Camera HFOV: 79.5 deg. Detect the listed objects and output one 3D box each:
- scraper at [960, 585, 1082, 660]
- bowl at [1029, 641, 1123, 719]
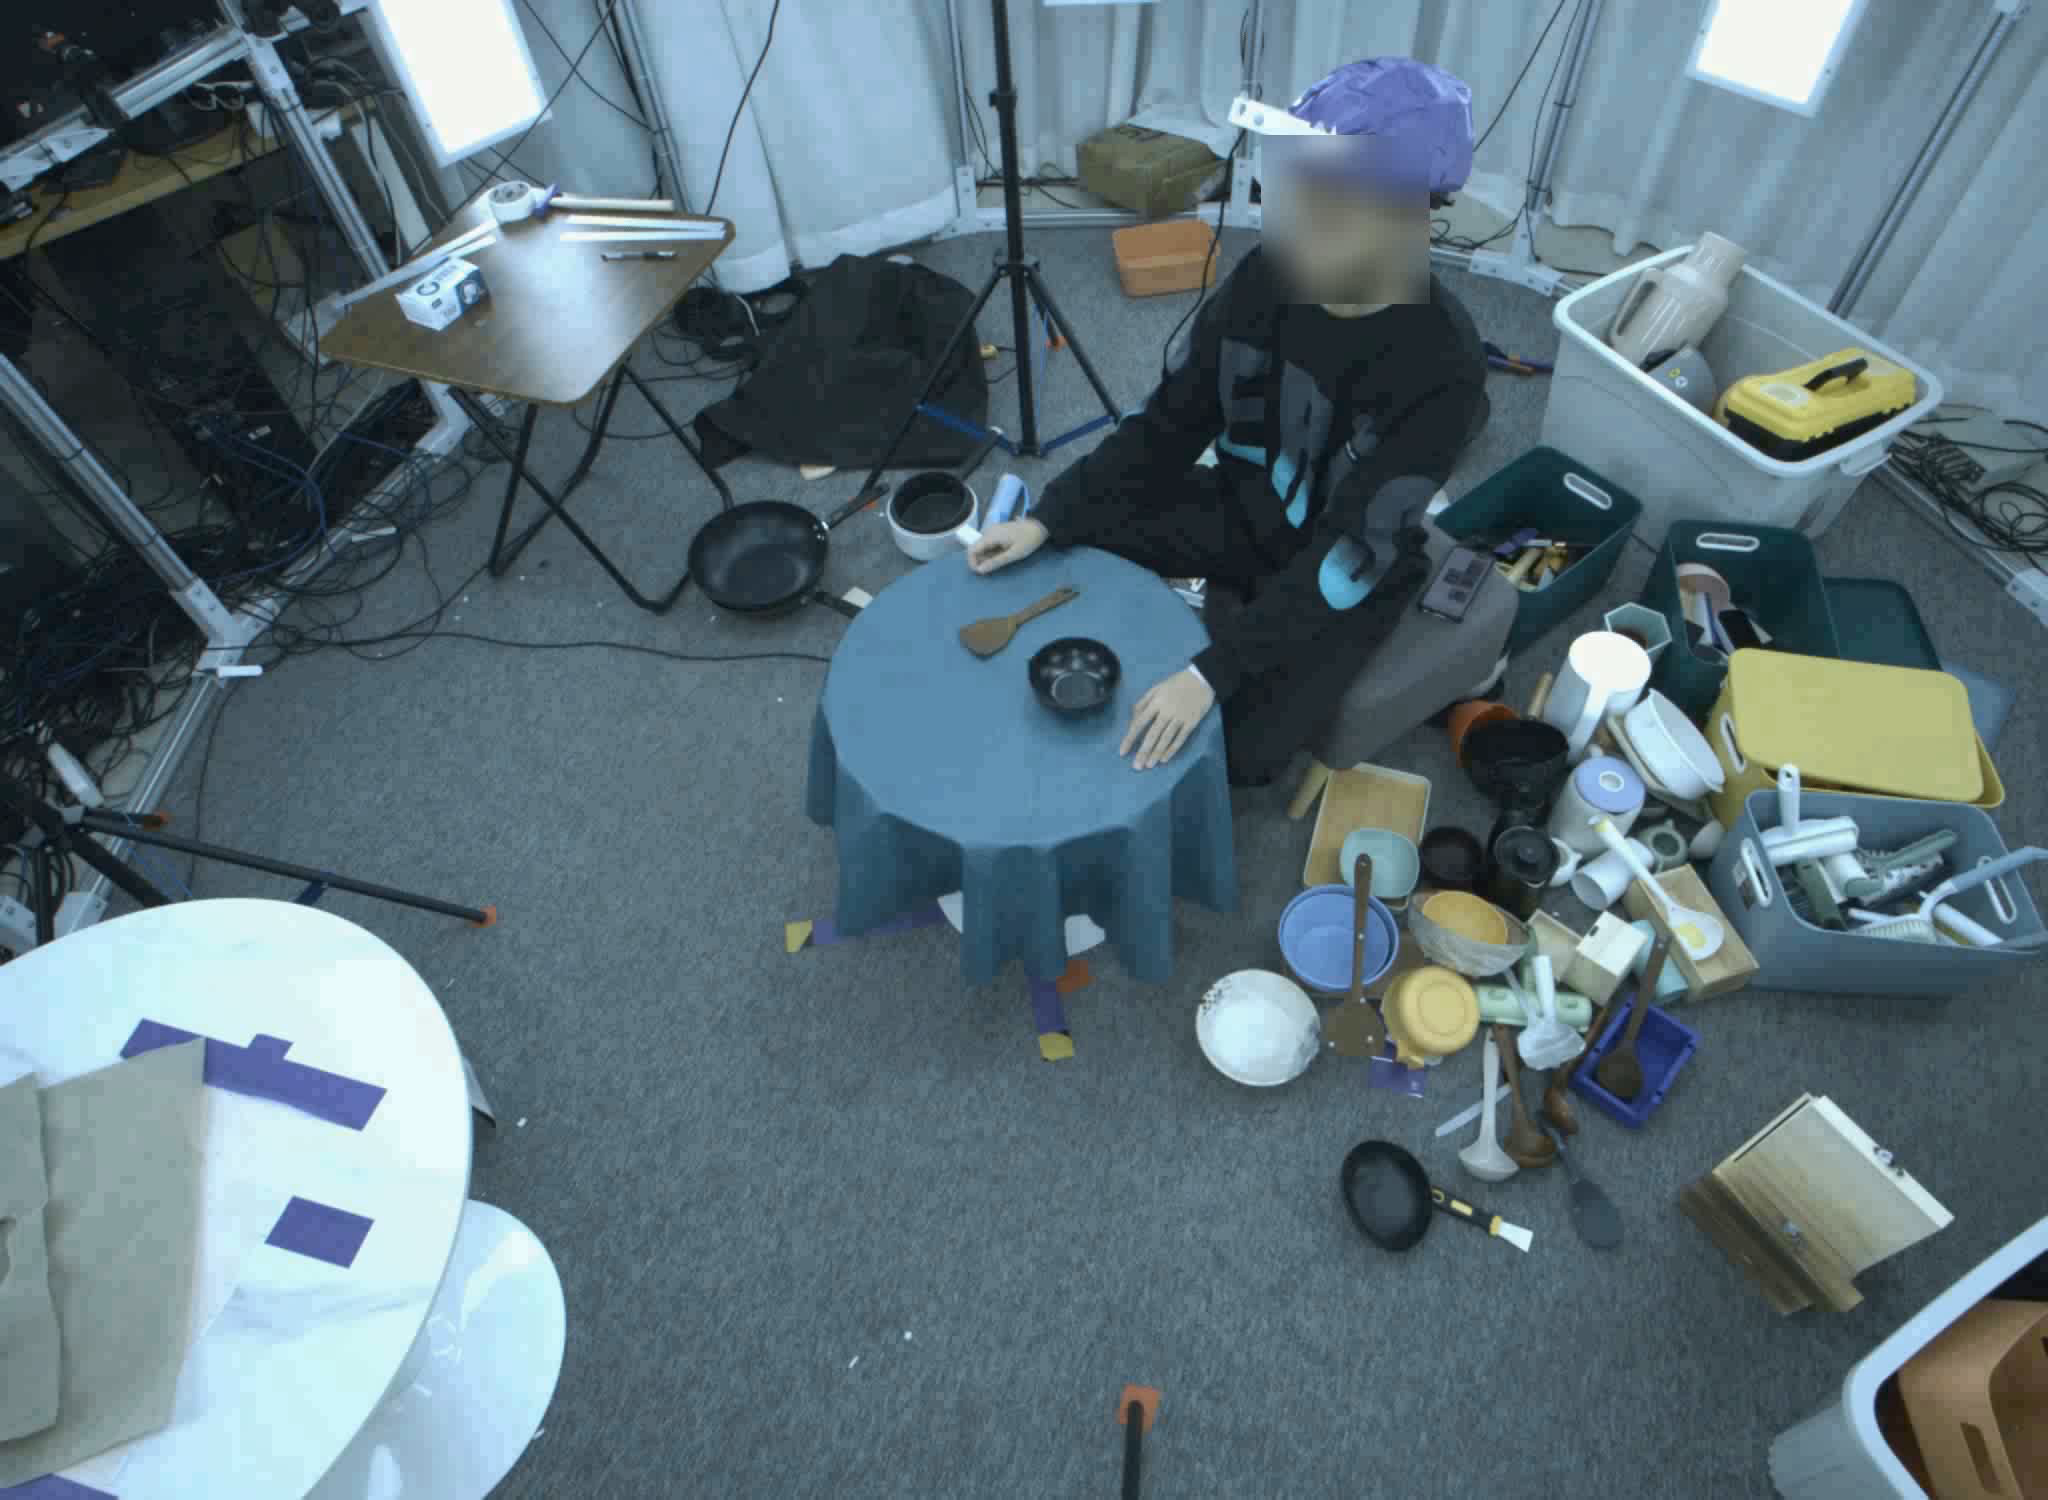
[{"bbox_3d":[0.001,-0.207,1.939,0.213,0.011,0.074,-30,60,-19],"label":"scraper"},{"bbox_3d":[0.079,-0.096,1.834,0.140,0.050,0.138,-1,52,3],"label":"bowl"}]
